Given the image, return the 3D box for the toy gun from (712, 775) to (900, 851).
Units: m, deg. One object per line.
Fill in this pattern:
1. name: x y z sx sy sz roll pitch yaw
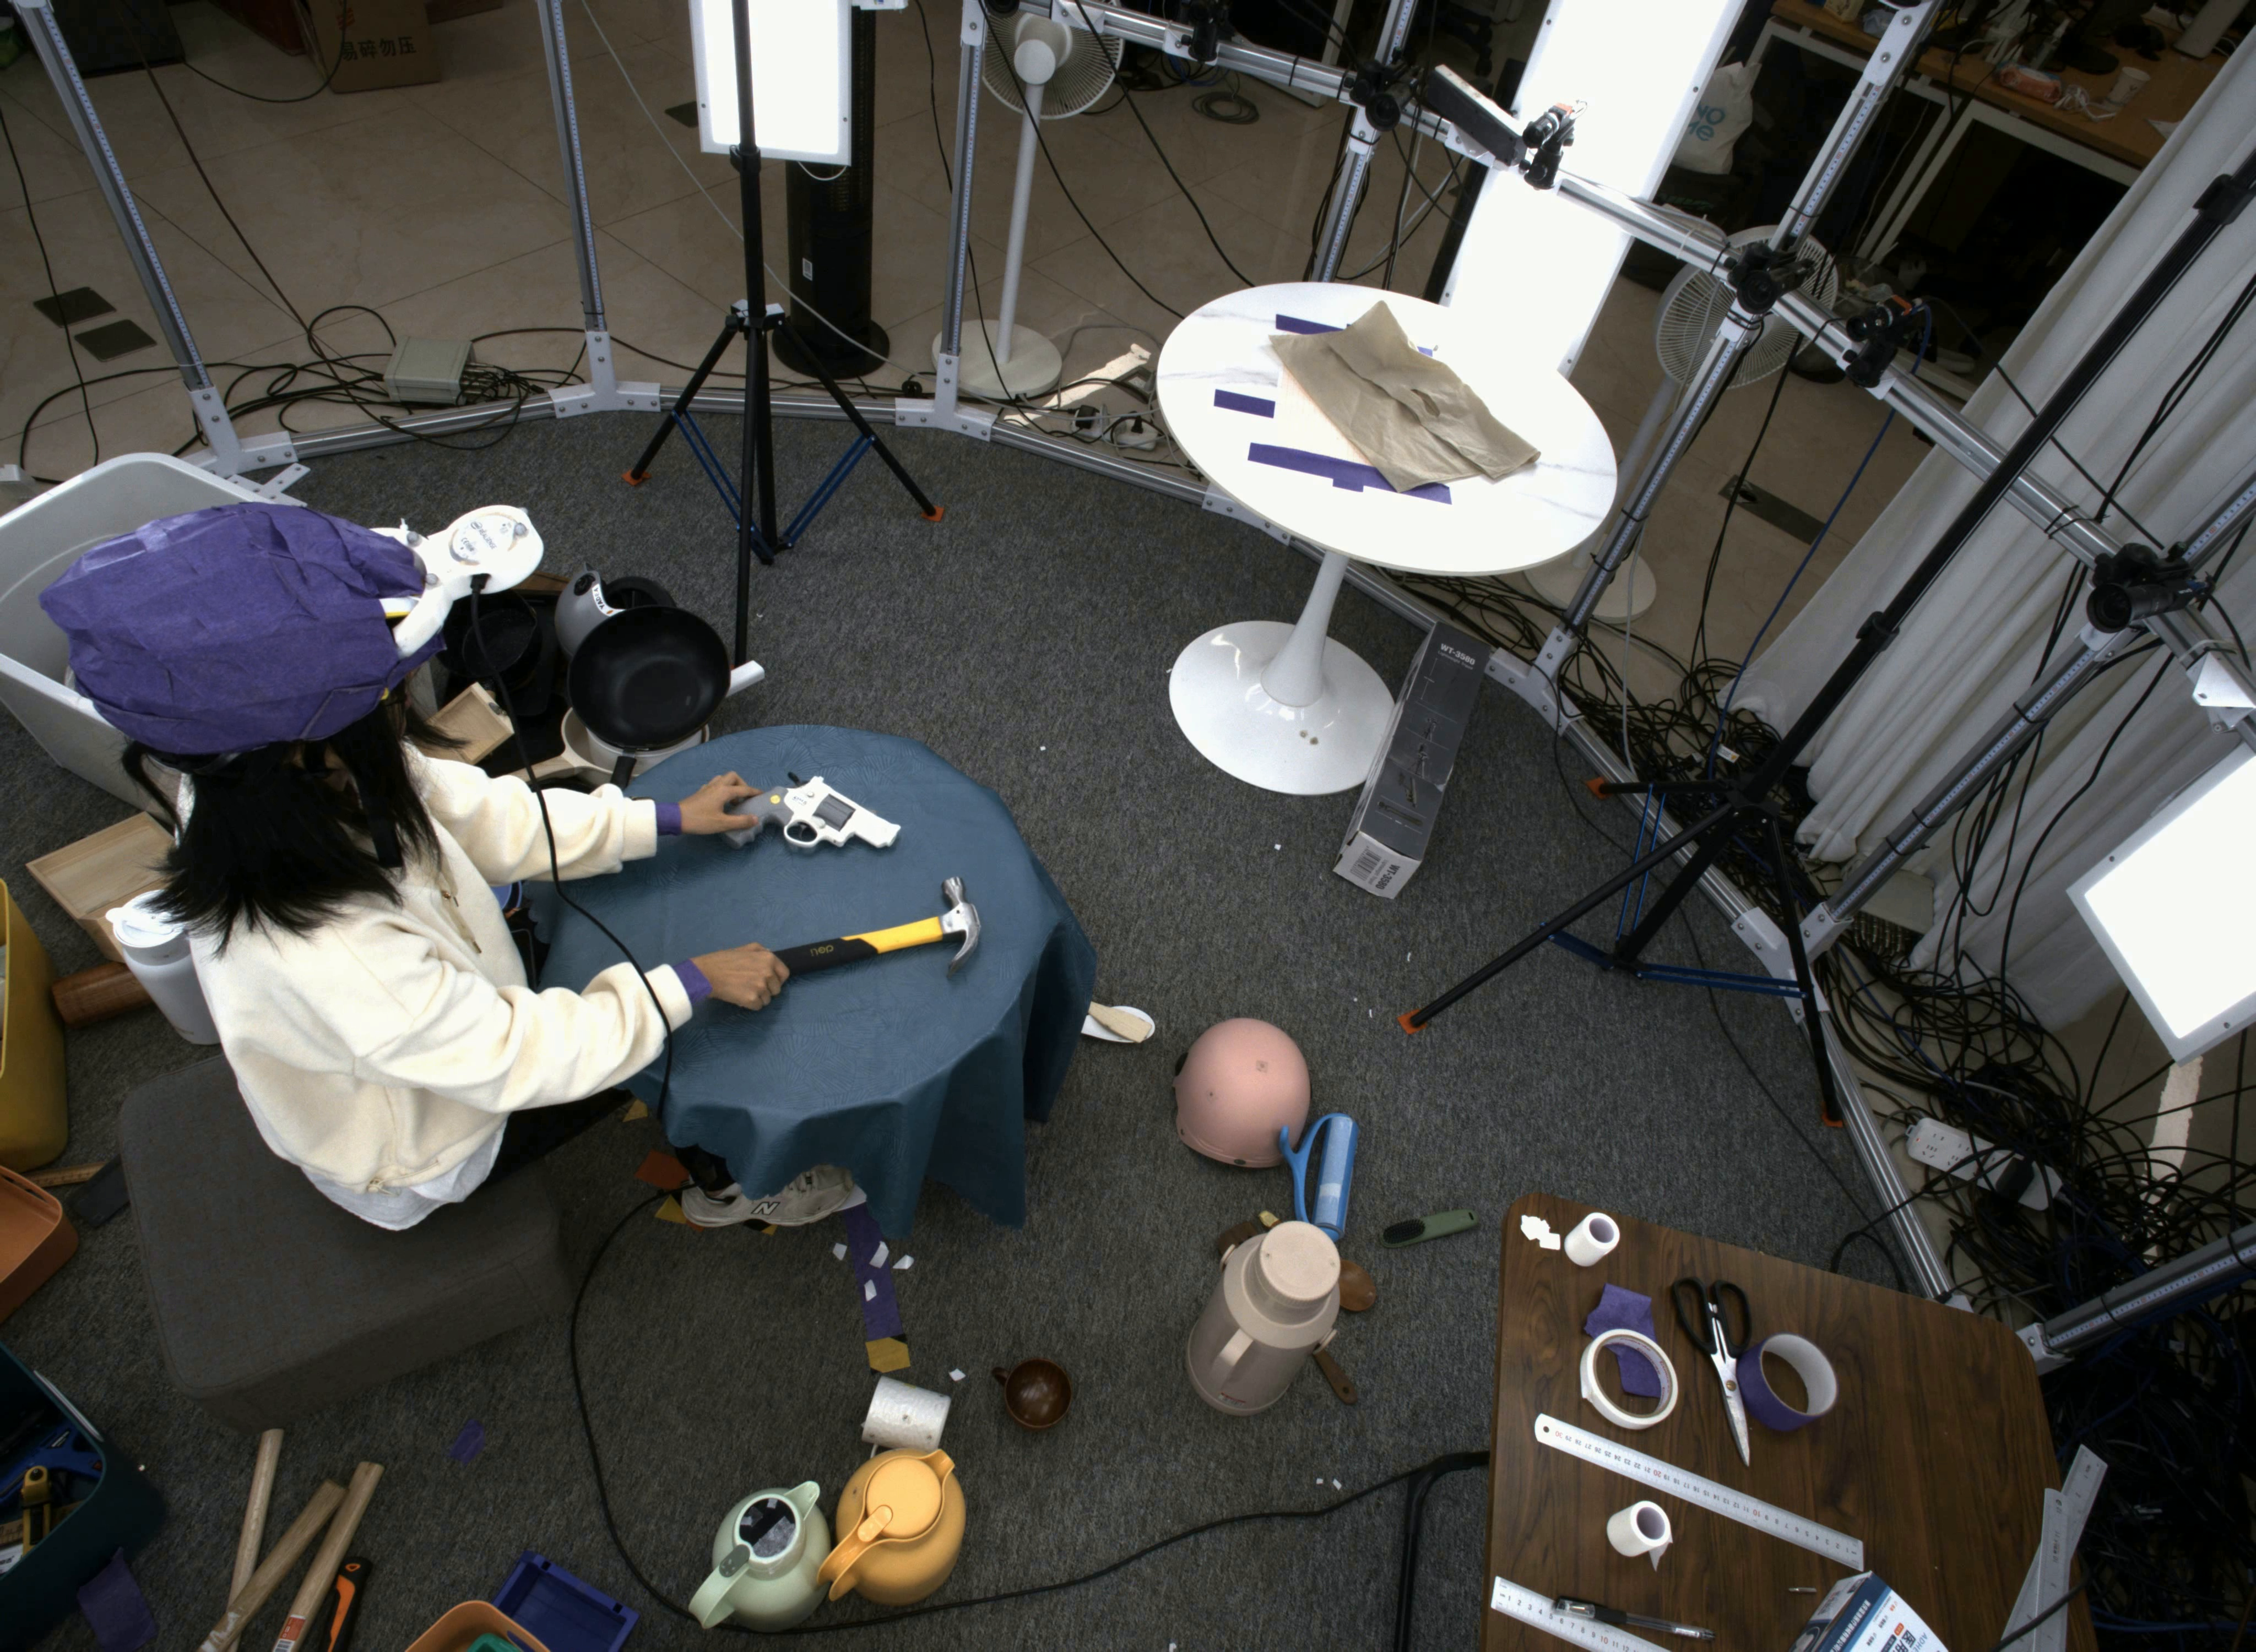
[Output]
1. toy gun: -0.420 0.002 1.694 0.208 0.039 0.141 29 61 -3

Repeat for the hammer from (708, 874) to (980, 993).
1. hammer: -0.347 0.148 1.605 0.340 0.033 0.128 -11 60 -23
